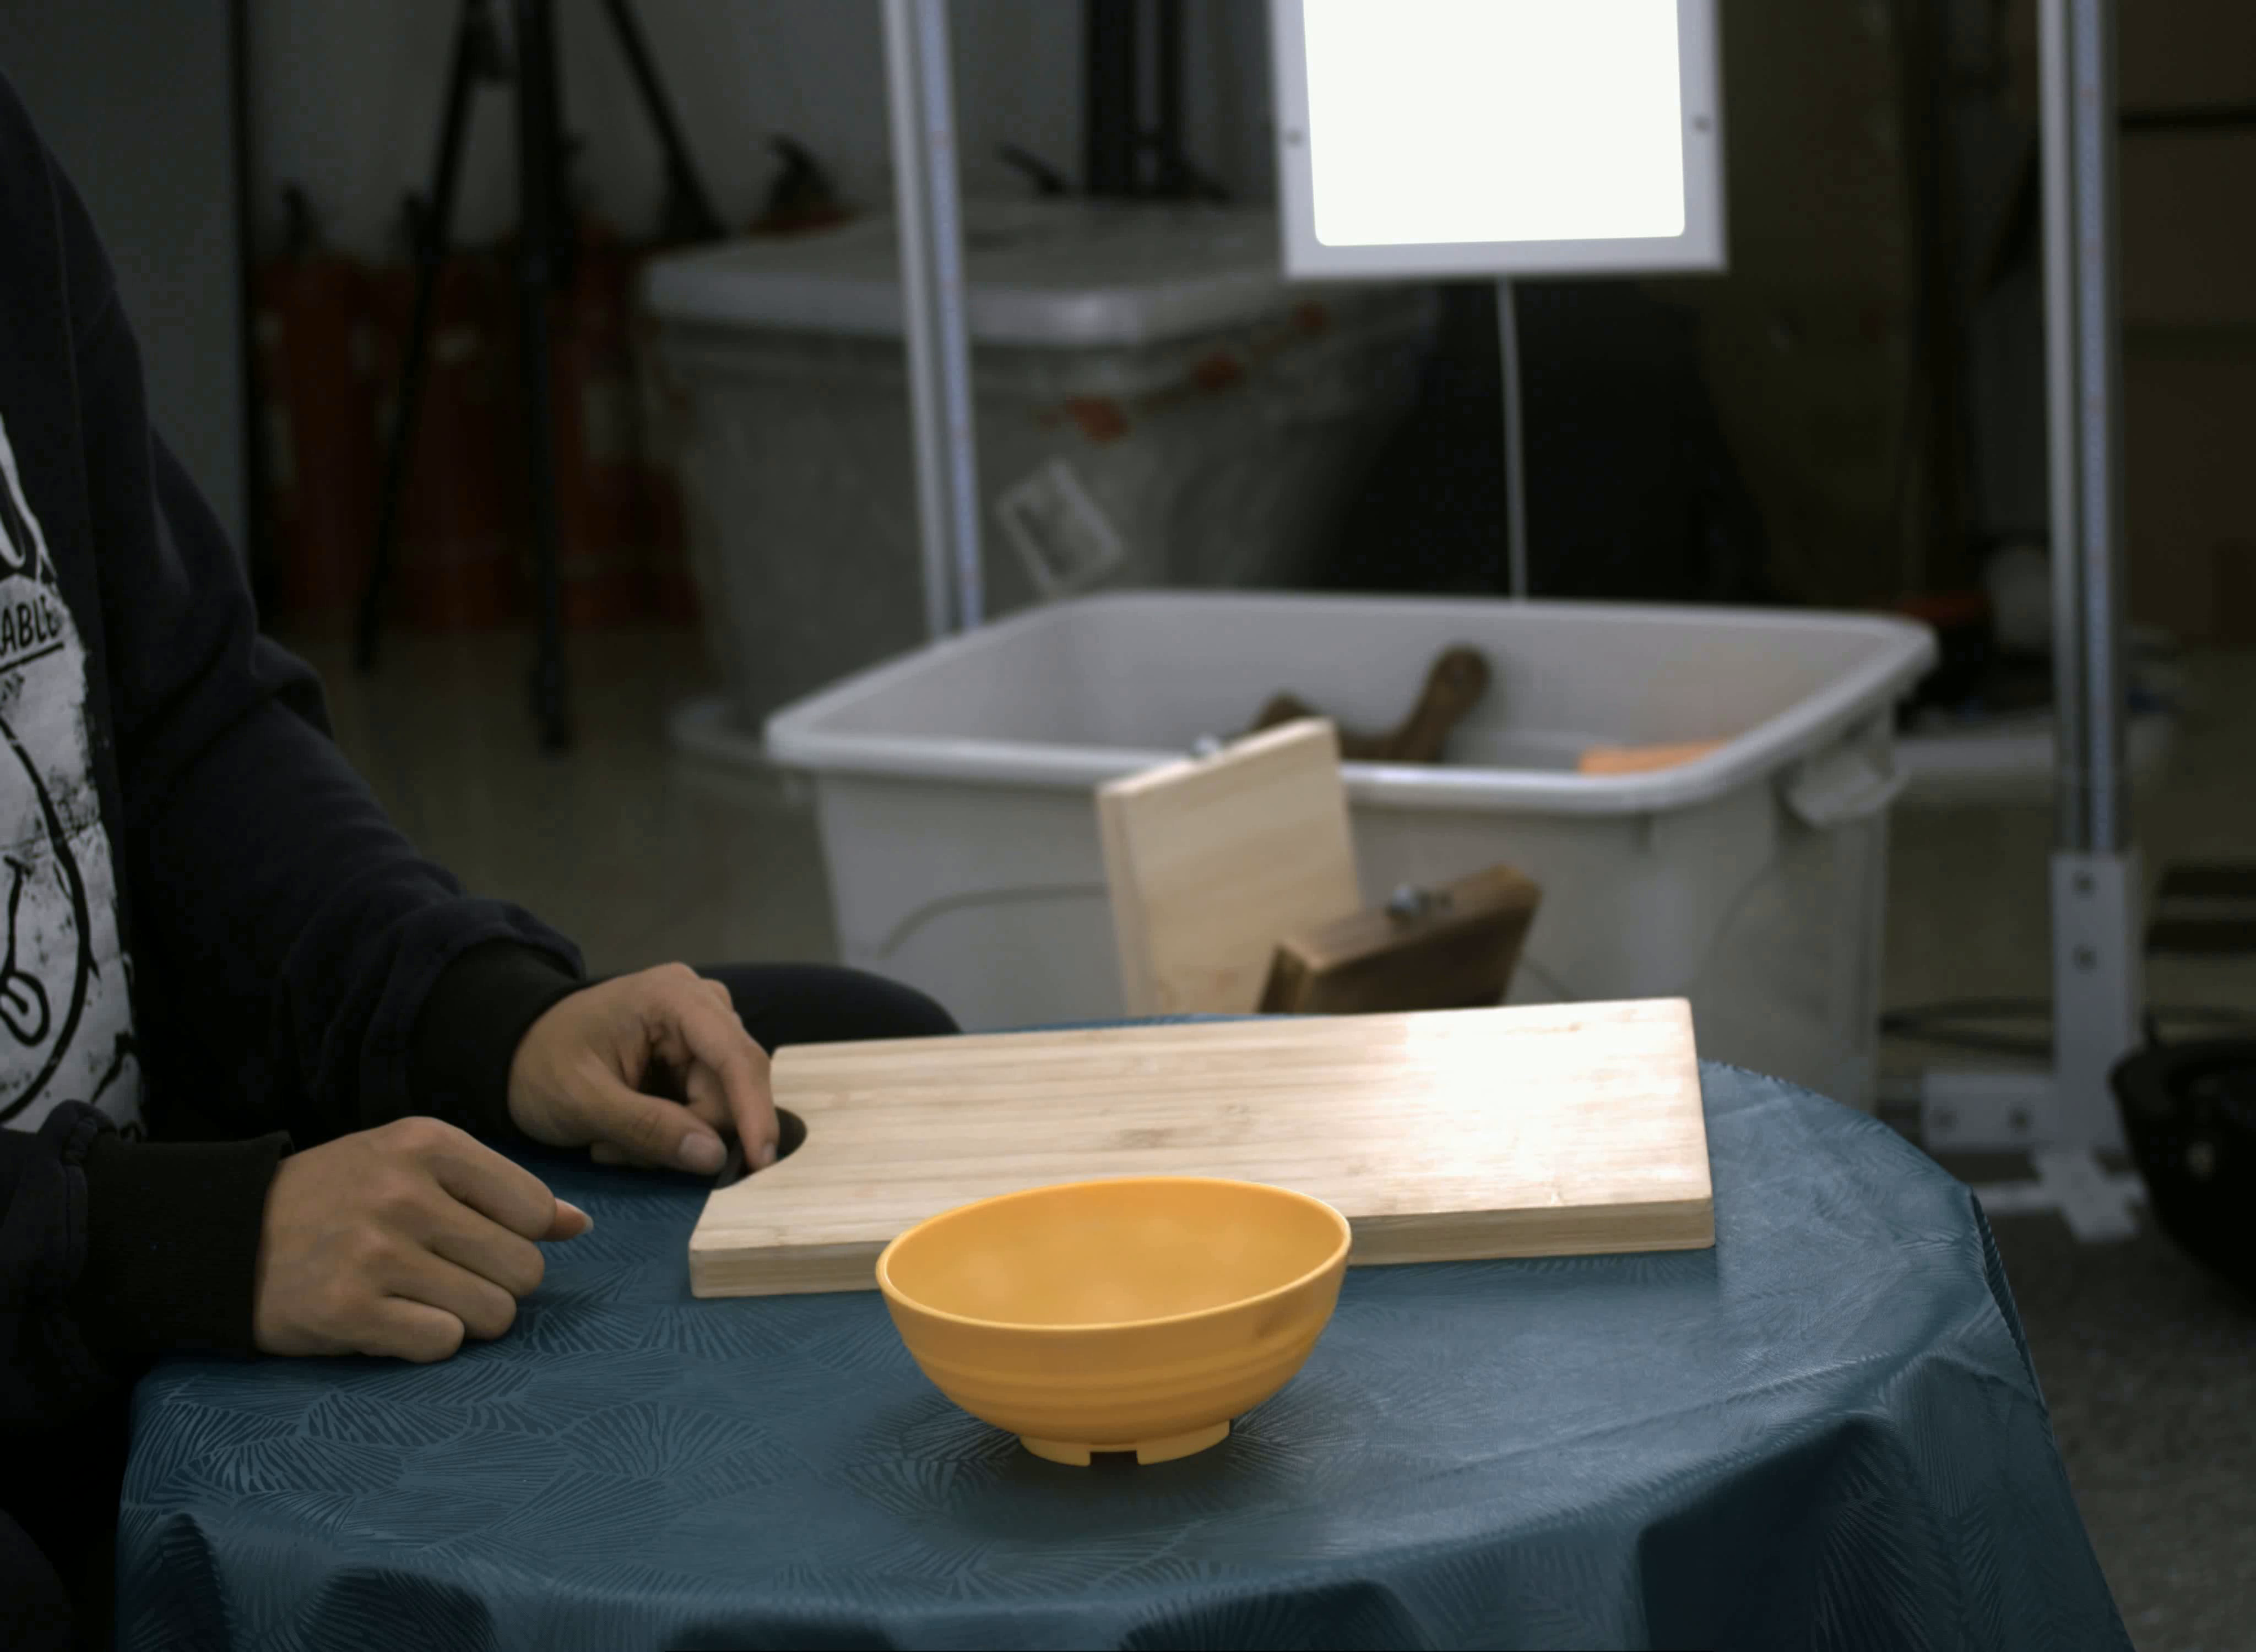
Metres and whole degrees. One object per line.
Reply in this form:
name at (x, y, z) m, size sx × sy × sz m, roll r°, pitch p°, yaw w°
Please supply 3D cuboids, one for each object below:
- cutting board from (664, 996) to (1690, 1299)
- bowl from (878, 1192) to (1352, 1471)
cutting board at (0.025, 0.111, 1.921) m, size 0.349 × 0.023 × 0.249 m, roll -4°, pitch 14°, yaw 6°
bowl at (-0.002, 0.156, 1.659) m, size 0.145 × 0.060 × 0.145 m, roll -5°, pitch 11°, yaw 0°
